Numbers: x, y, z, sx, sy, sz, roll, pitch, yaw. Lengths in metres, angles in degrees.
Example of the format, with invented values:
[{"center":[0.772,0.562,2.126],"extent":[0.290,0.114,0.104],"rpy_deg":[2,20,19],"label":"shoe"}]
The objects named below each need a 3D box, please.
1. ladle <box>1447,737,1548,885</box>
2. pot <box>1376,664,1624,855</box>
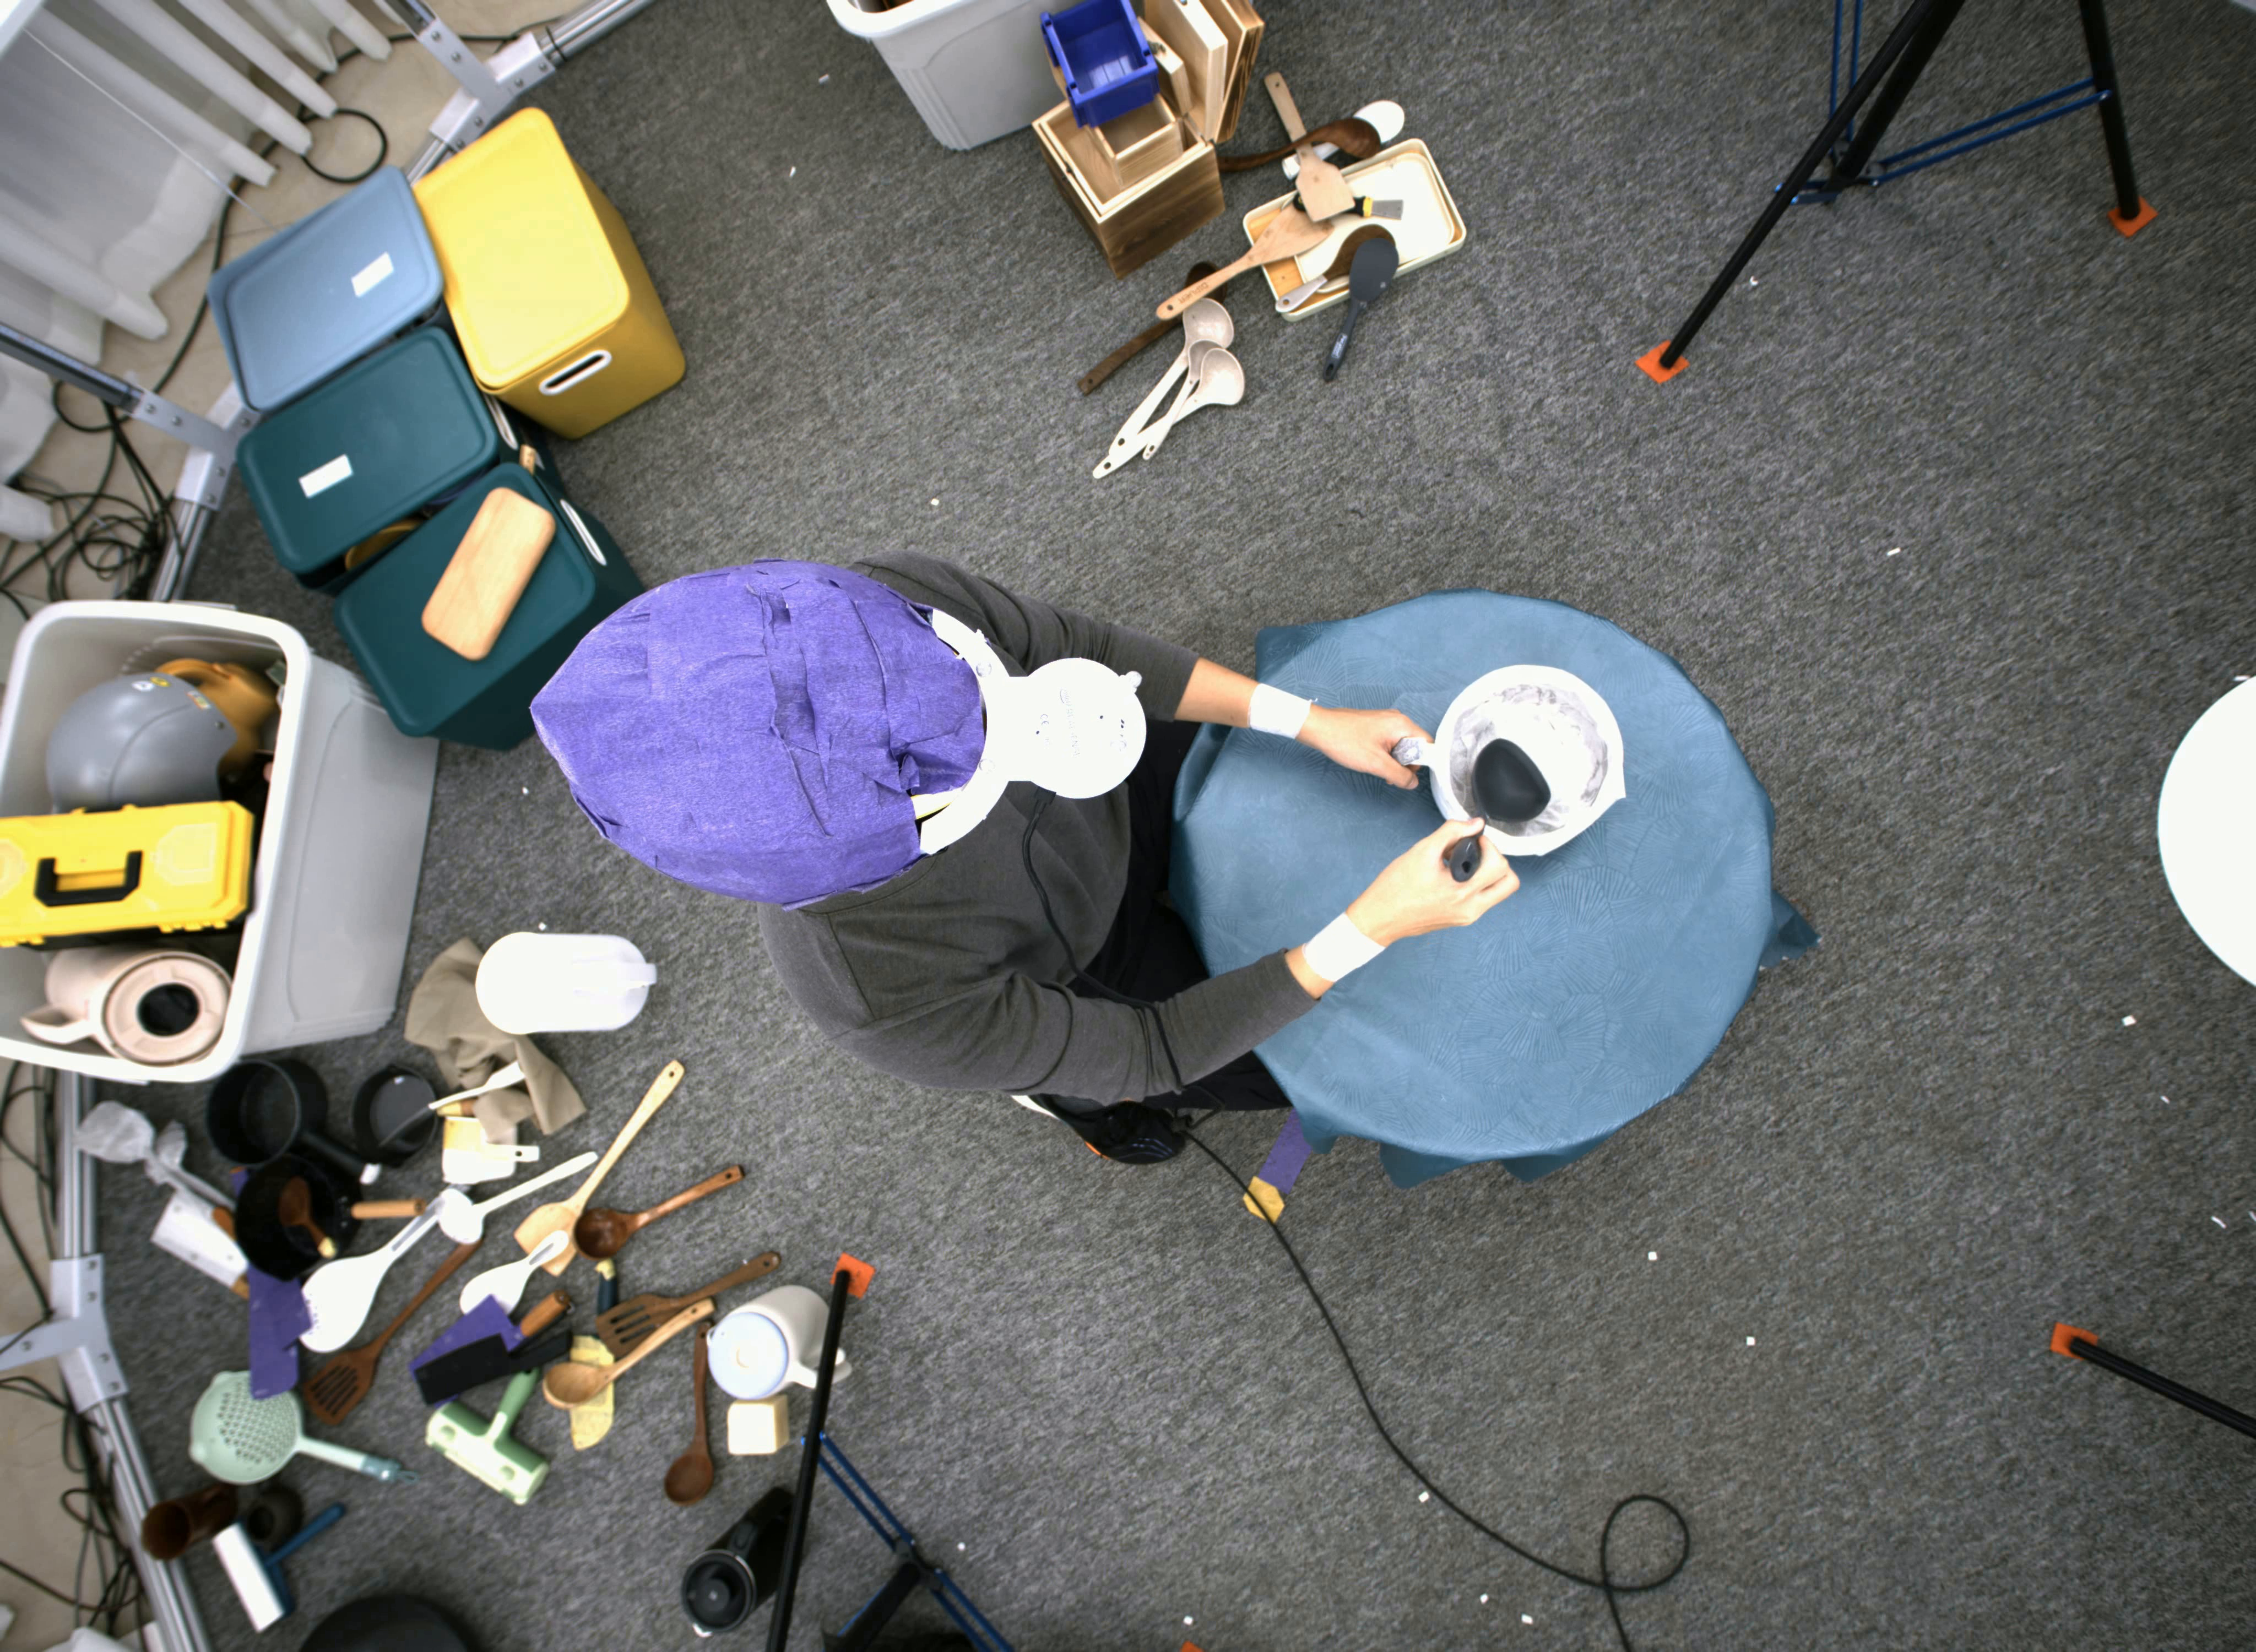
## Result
[{"center":[0.331,-0.013,1.241],"extent":[0.086,0.308,0.065],"rpy_deg":[46,114,3],"label":"ladle"},{"center":[0.367,-0.066,1.379],"extent":[0.234,0.137,0.178],"rpy_deg":[4,86,11],"label":"pot"}]
